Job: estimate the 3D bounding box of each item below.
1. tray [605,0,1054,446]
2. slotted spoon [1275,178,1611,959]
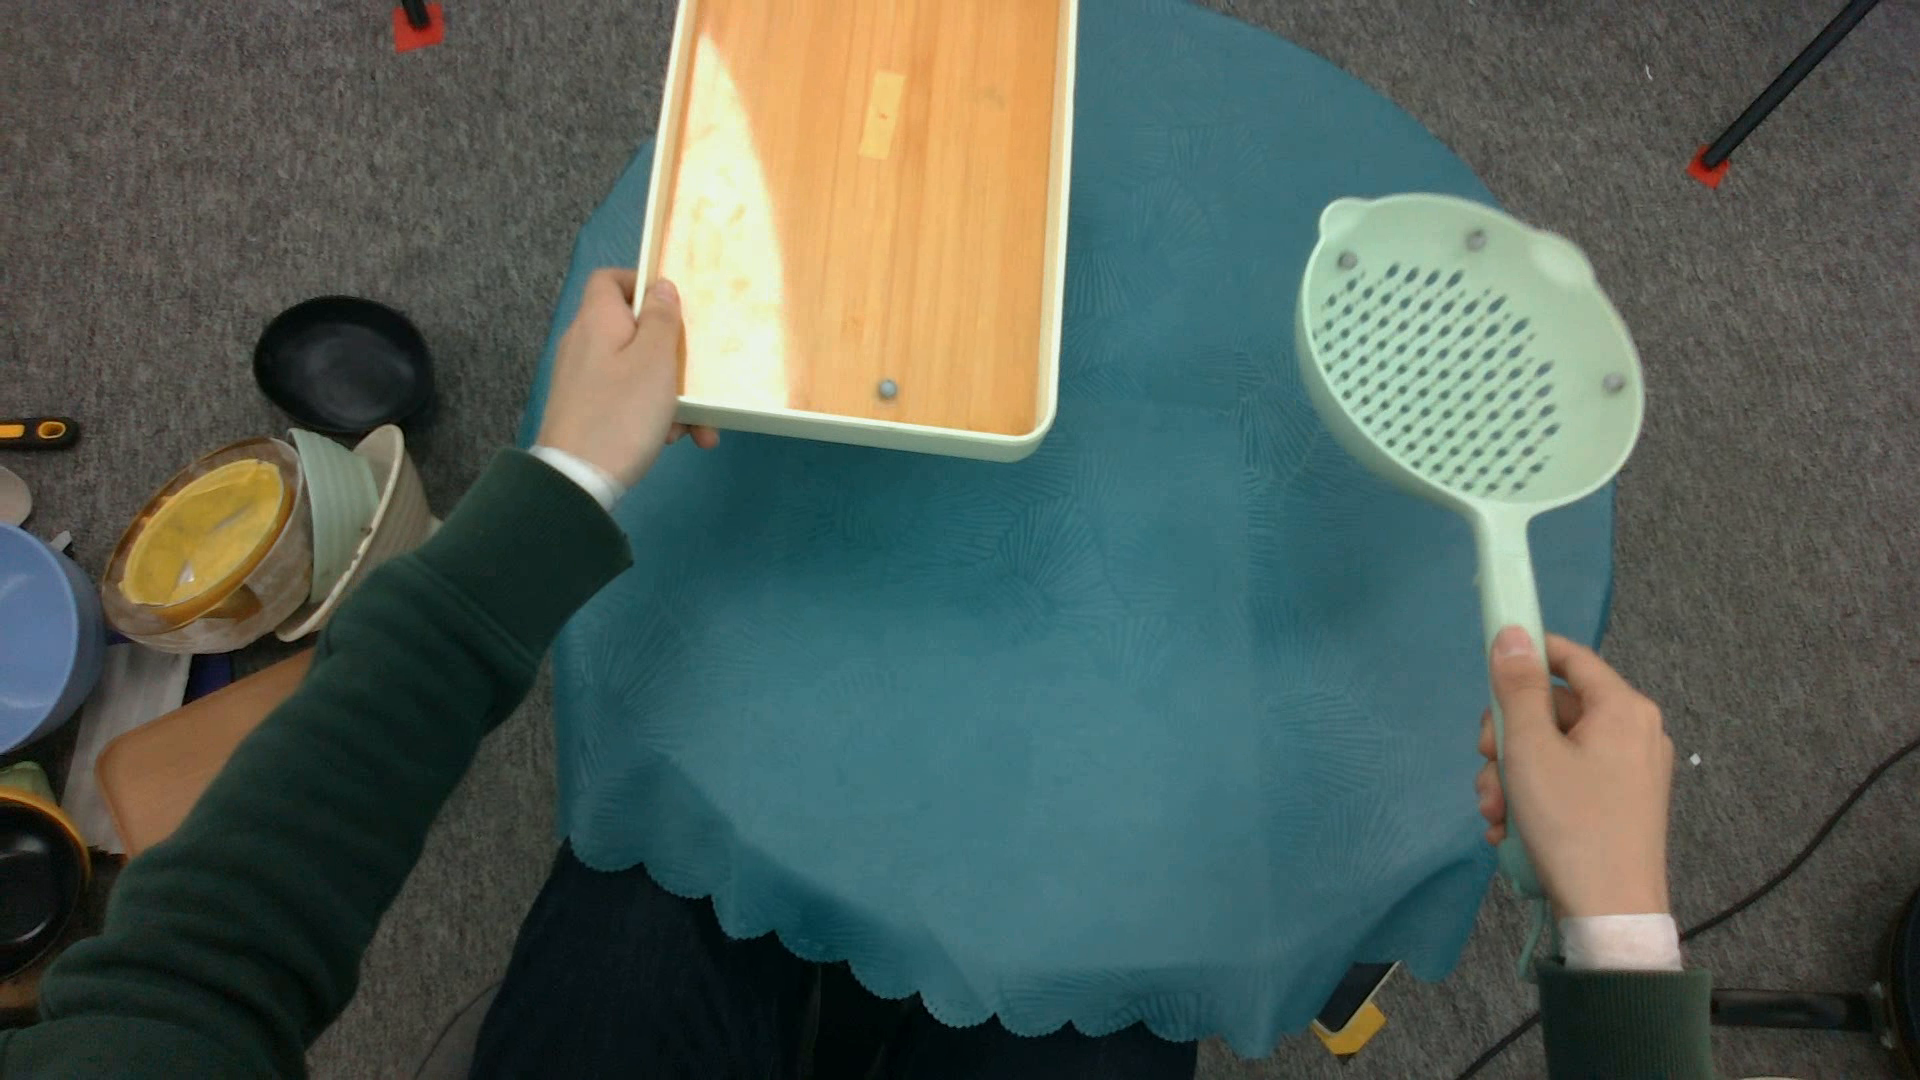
[{"bbox_3d":[-0.053,-0.195,0.659,0.192,0.027,0.301,6,70,-7],"label":"tray"},{"bbox_3d":[0.223,-0.006,0.608,0.169,0.075,0.360,7,56,-11],"label":"slotted spoon"}]
